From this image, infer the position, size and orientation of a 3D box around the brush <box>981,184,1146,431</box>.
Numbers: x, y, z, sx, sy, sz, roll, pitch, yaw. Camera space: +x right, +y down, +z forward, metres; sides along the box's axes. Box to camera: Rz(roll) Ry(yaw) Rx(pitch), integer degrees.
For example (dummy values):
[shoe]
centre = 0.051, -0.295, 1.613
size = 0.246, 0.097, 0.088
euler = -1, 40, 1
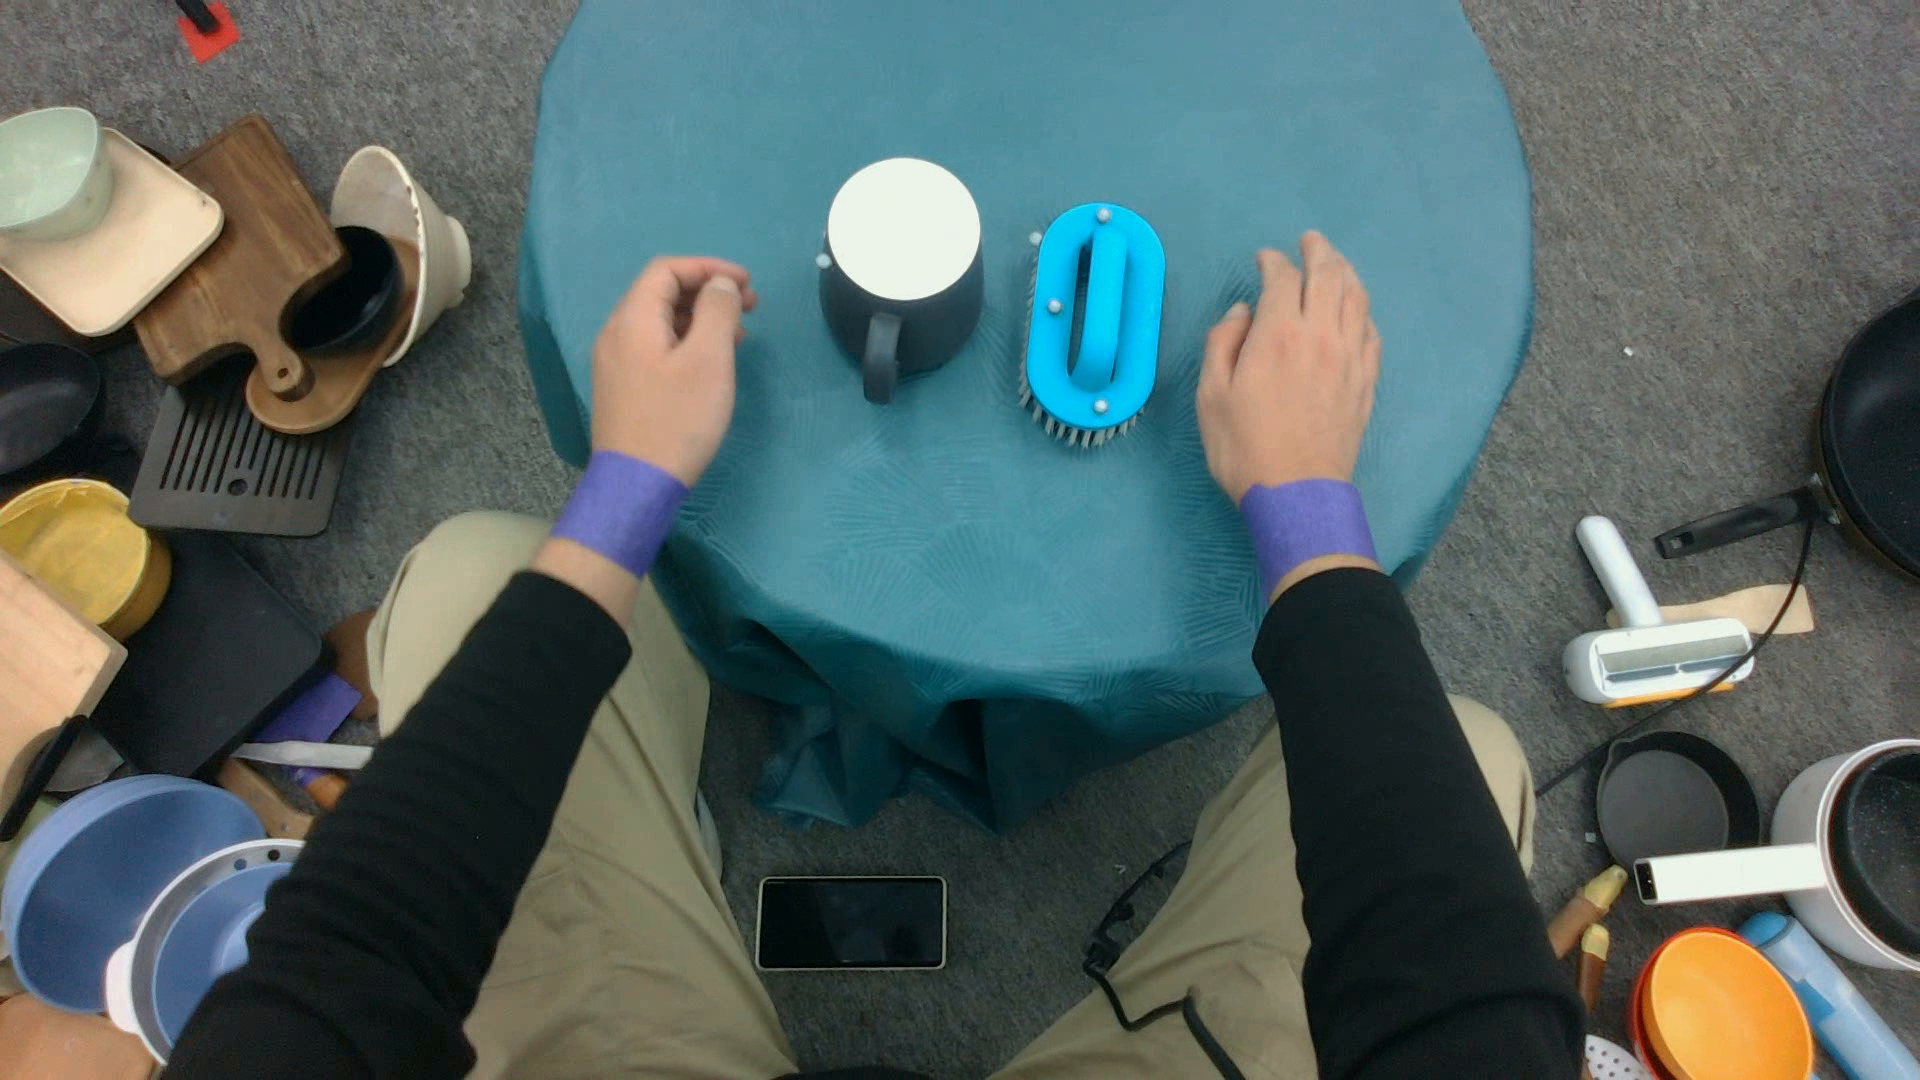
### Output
[brush]
centre = 0.061, -0.135, 0.767
size = 0.084, 0.063, 0.142
euler = 10, 75, -7

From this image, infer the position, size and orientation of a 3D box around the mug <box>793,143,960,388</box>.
[mug]
centre = -0.048, -0.142, 0.744
size = 0.093, 0.089, 0.123
euler = 13, 72, -1
